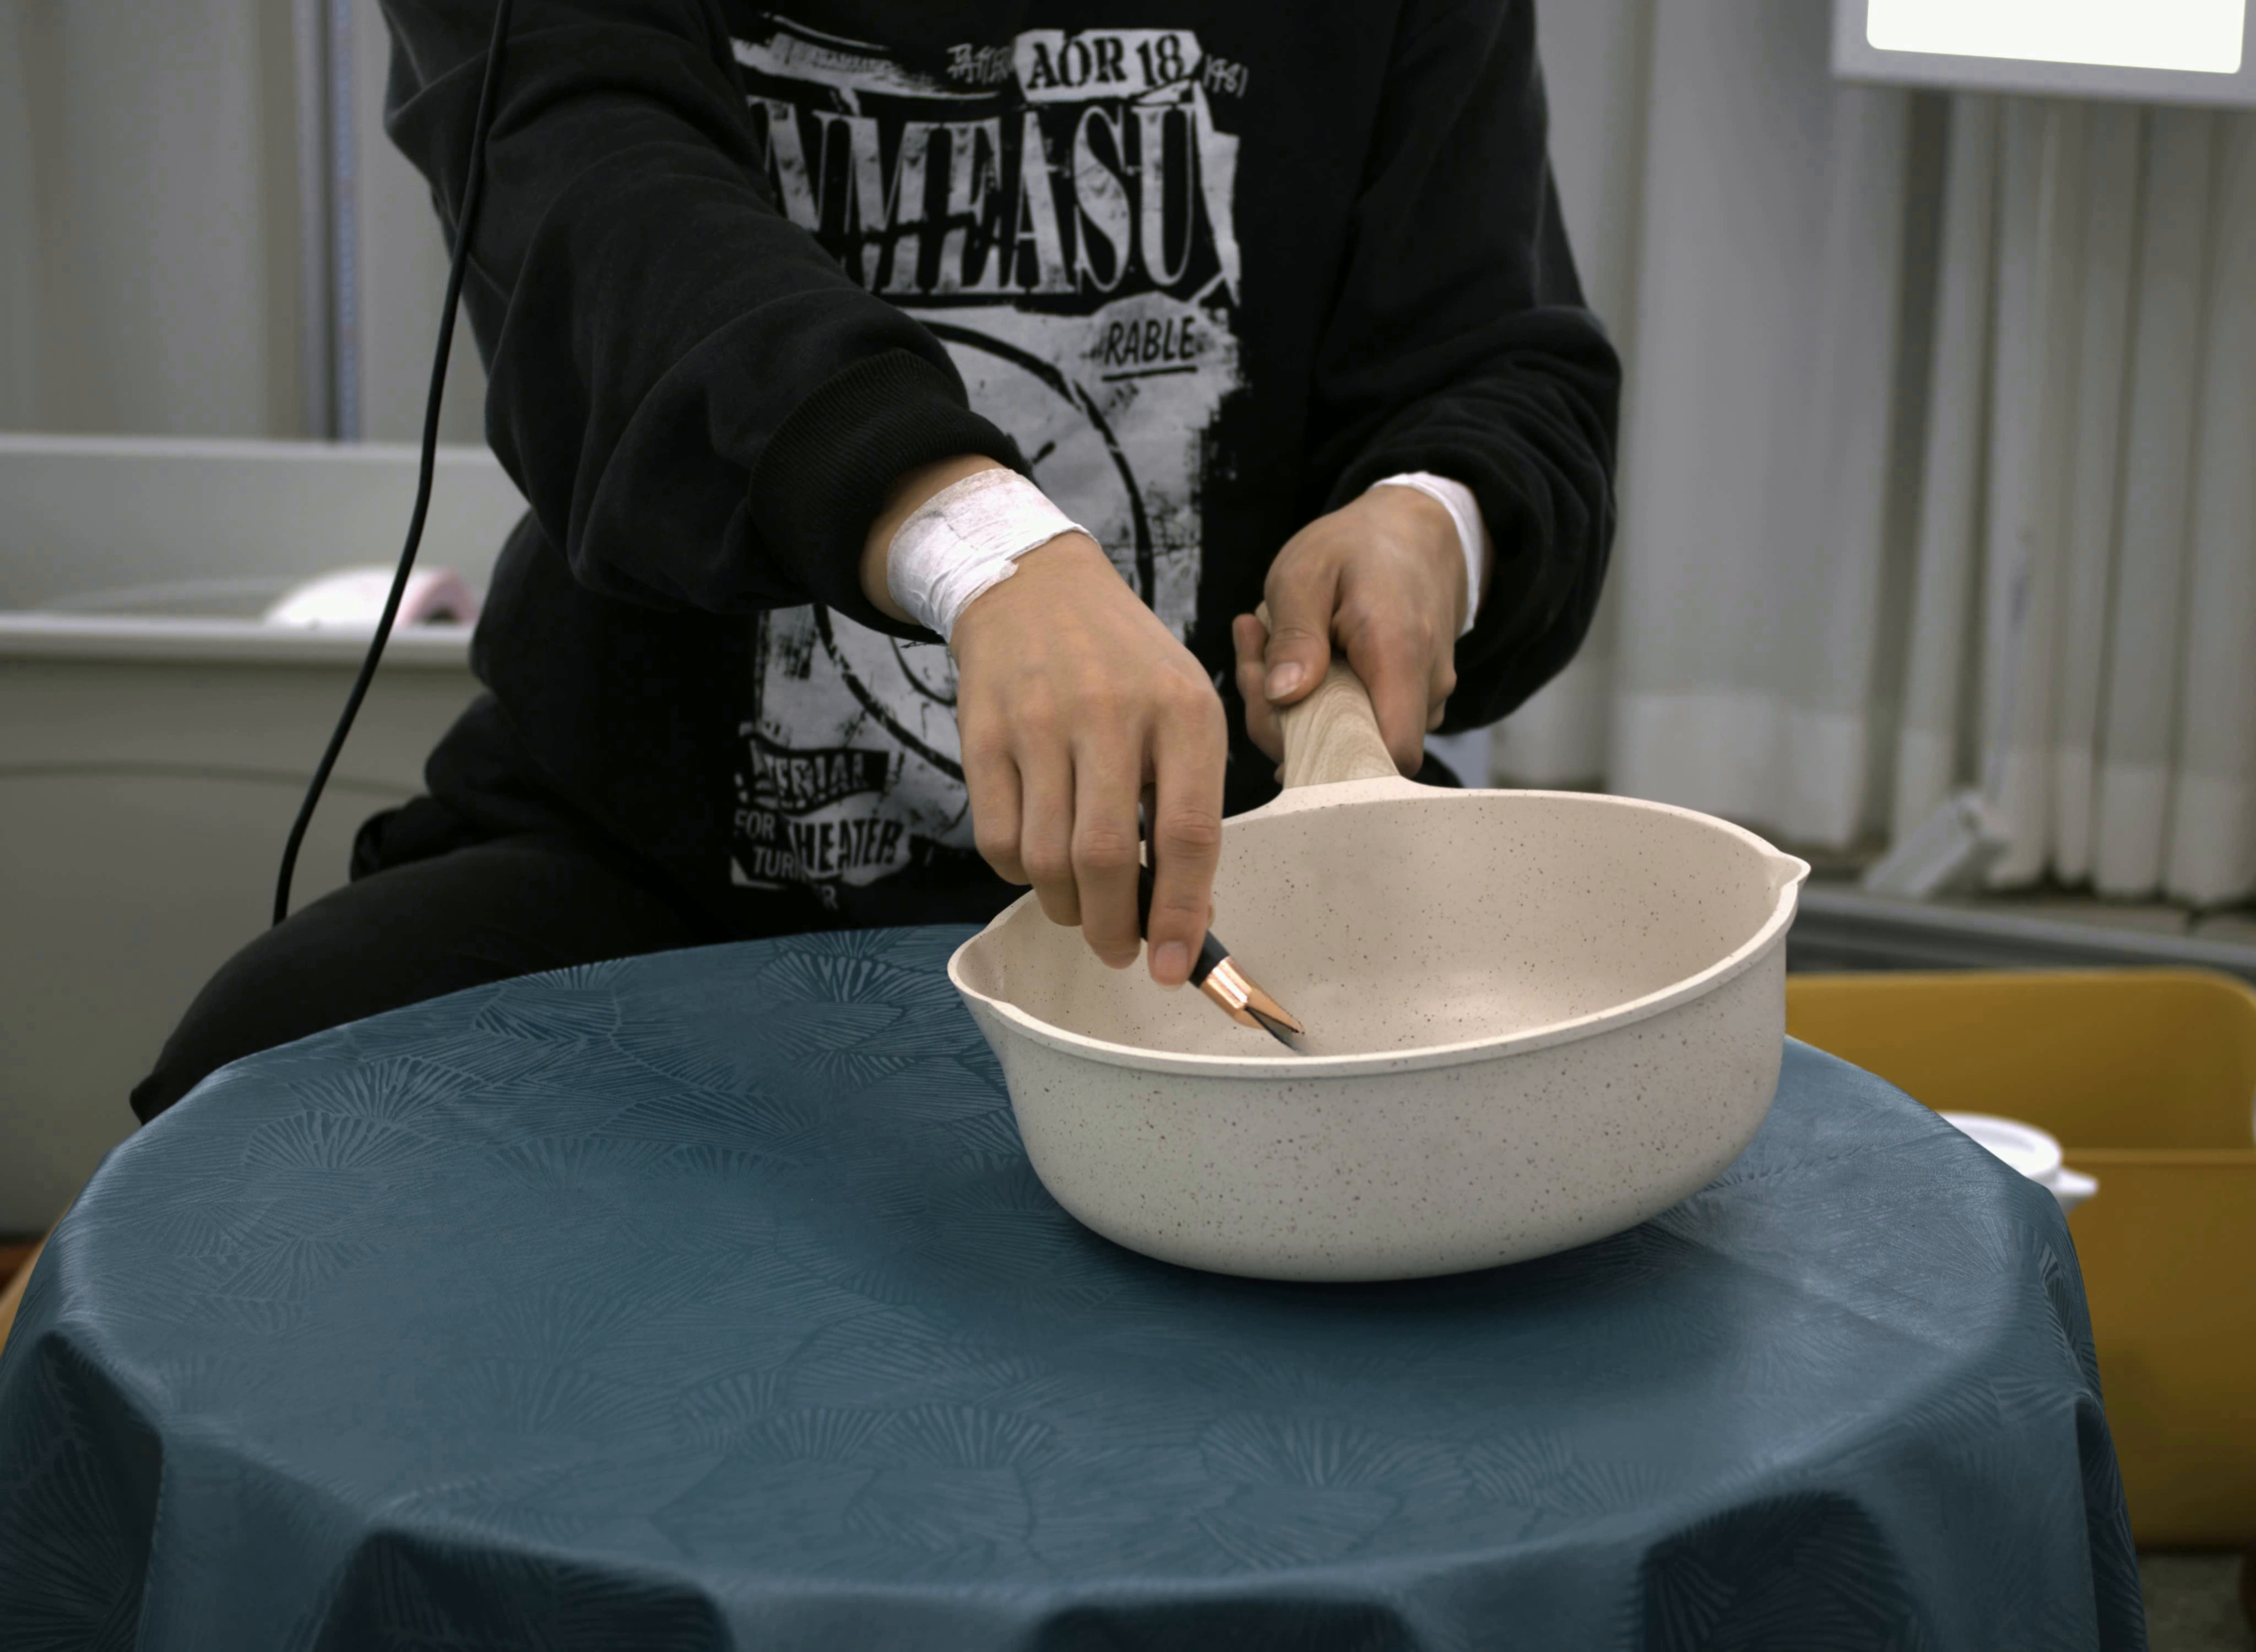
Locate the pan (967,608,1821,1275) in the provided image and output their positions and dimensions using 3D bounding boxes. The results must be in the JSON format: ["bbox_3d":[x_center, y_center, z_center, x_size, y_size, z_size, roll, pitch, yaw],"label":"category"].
[{"bbox_3d":[0.079,0.031,1.689,0.262,0.103,0.432,-8,17,-1],"label":"pan"}]

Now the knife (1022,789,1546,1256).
[{"bbox_3d":[0.045,0.058,1.582,0.223,0.017,0.026,42,12,27],"label":"knife"}]
